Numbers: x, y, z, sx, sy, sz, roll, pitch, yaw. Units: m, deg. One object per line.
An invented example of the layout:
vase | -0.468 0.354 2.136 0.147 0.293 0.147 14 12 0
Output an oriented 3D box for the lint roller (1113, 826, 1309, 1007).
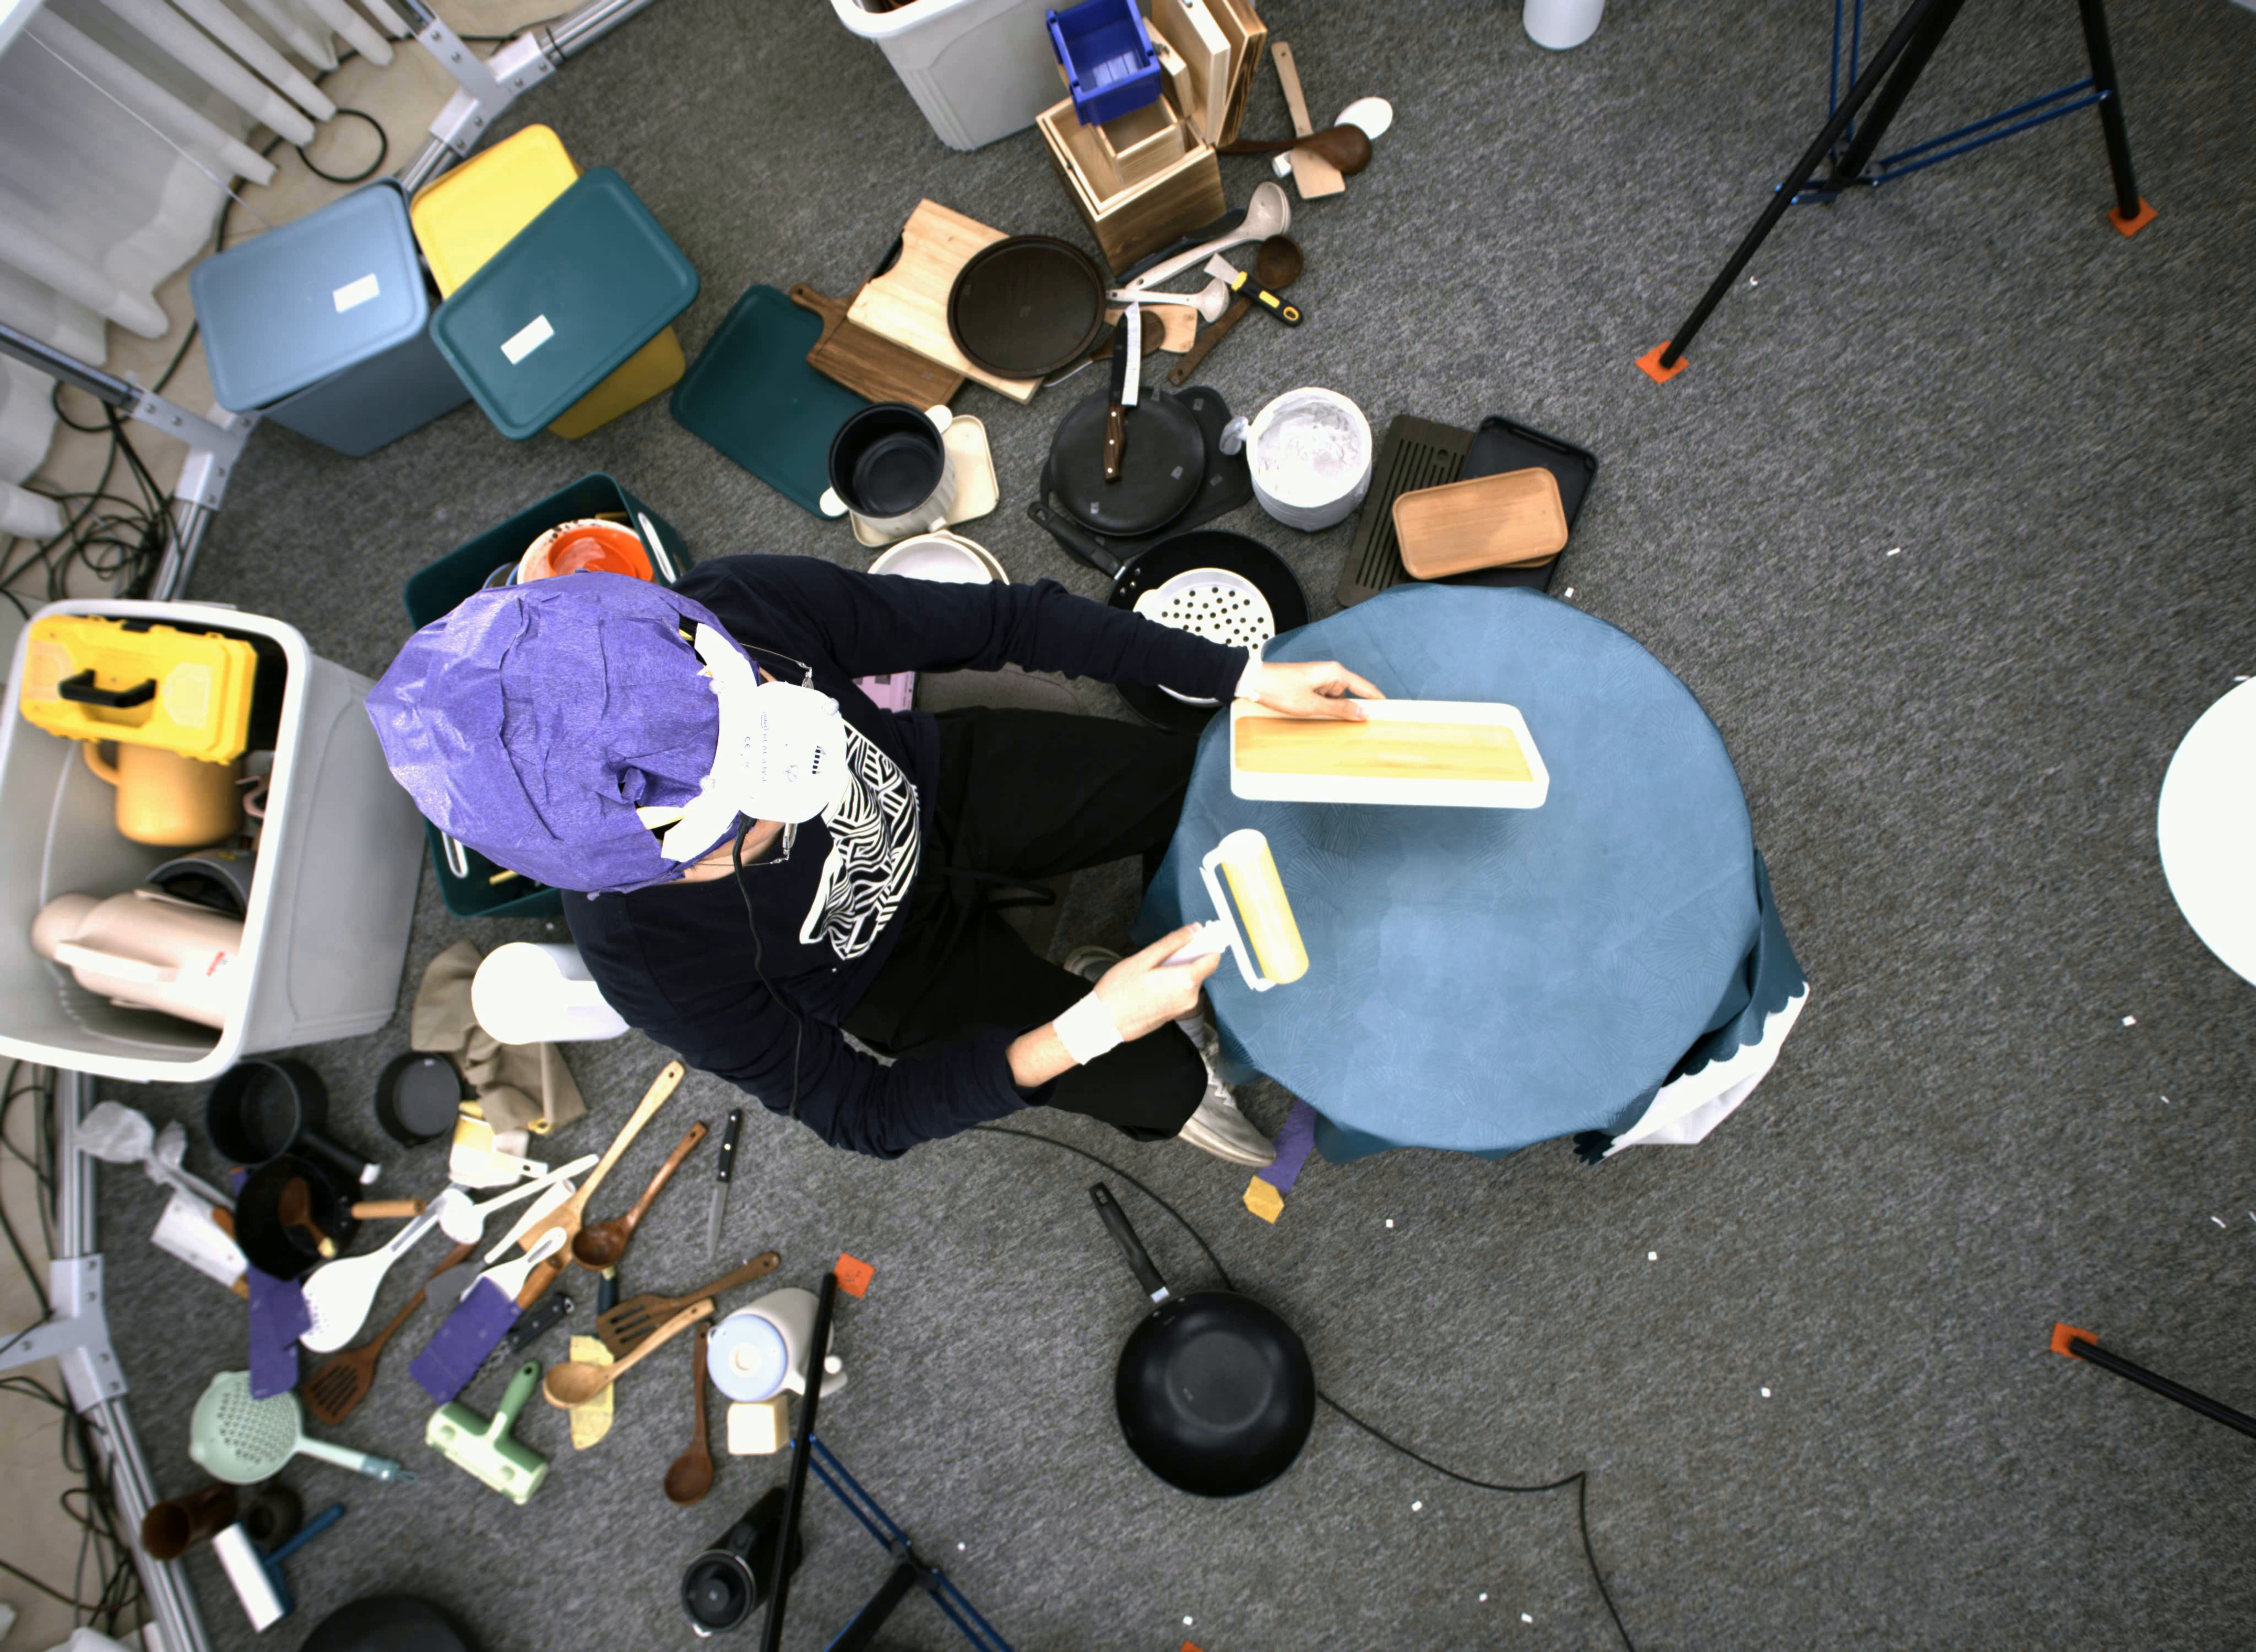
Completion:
lint roller | 0.073 0.116 1.322 0.190 0.177 0.051 -37 37 -14

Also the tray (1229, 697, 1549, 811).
tray | 0.251 -0.075 1.367 0.301 0.187 0.028 2 121 4
